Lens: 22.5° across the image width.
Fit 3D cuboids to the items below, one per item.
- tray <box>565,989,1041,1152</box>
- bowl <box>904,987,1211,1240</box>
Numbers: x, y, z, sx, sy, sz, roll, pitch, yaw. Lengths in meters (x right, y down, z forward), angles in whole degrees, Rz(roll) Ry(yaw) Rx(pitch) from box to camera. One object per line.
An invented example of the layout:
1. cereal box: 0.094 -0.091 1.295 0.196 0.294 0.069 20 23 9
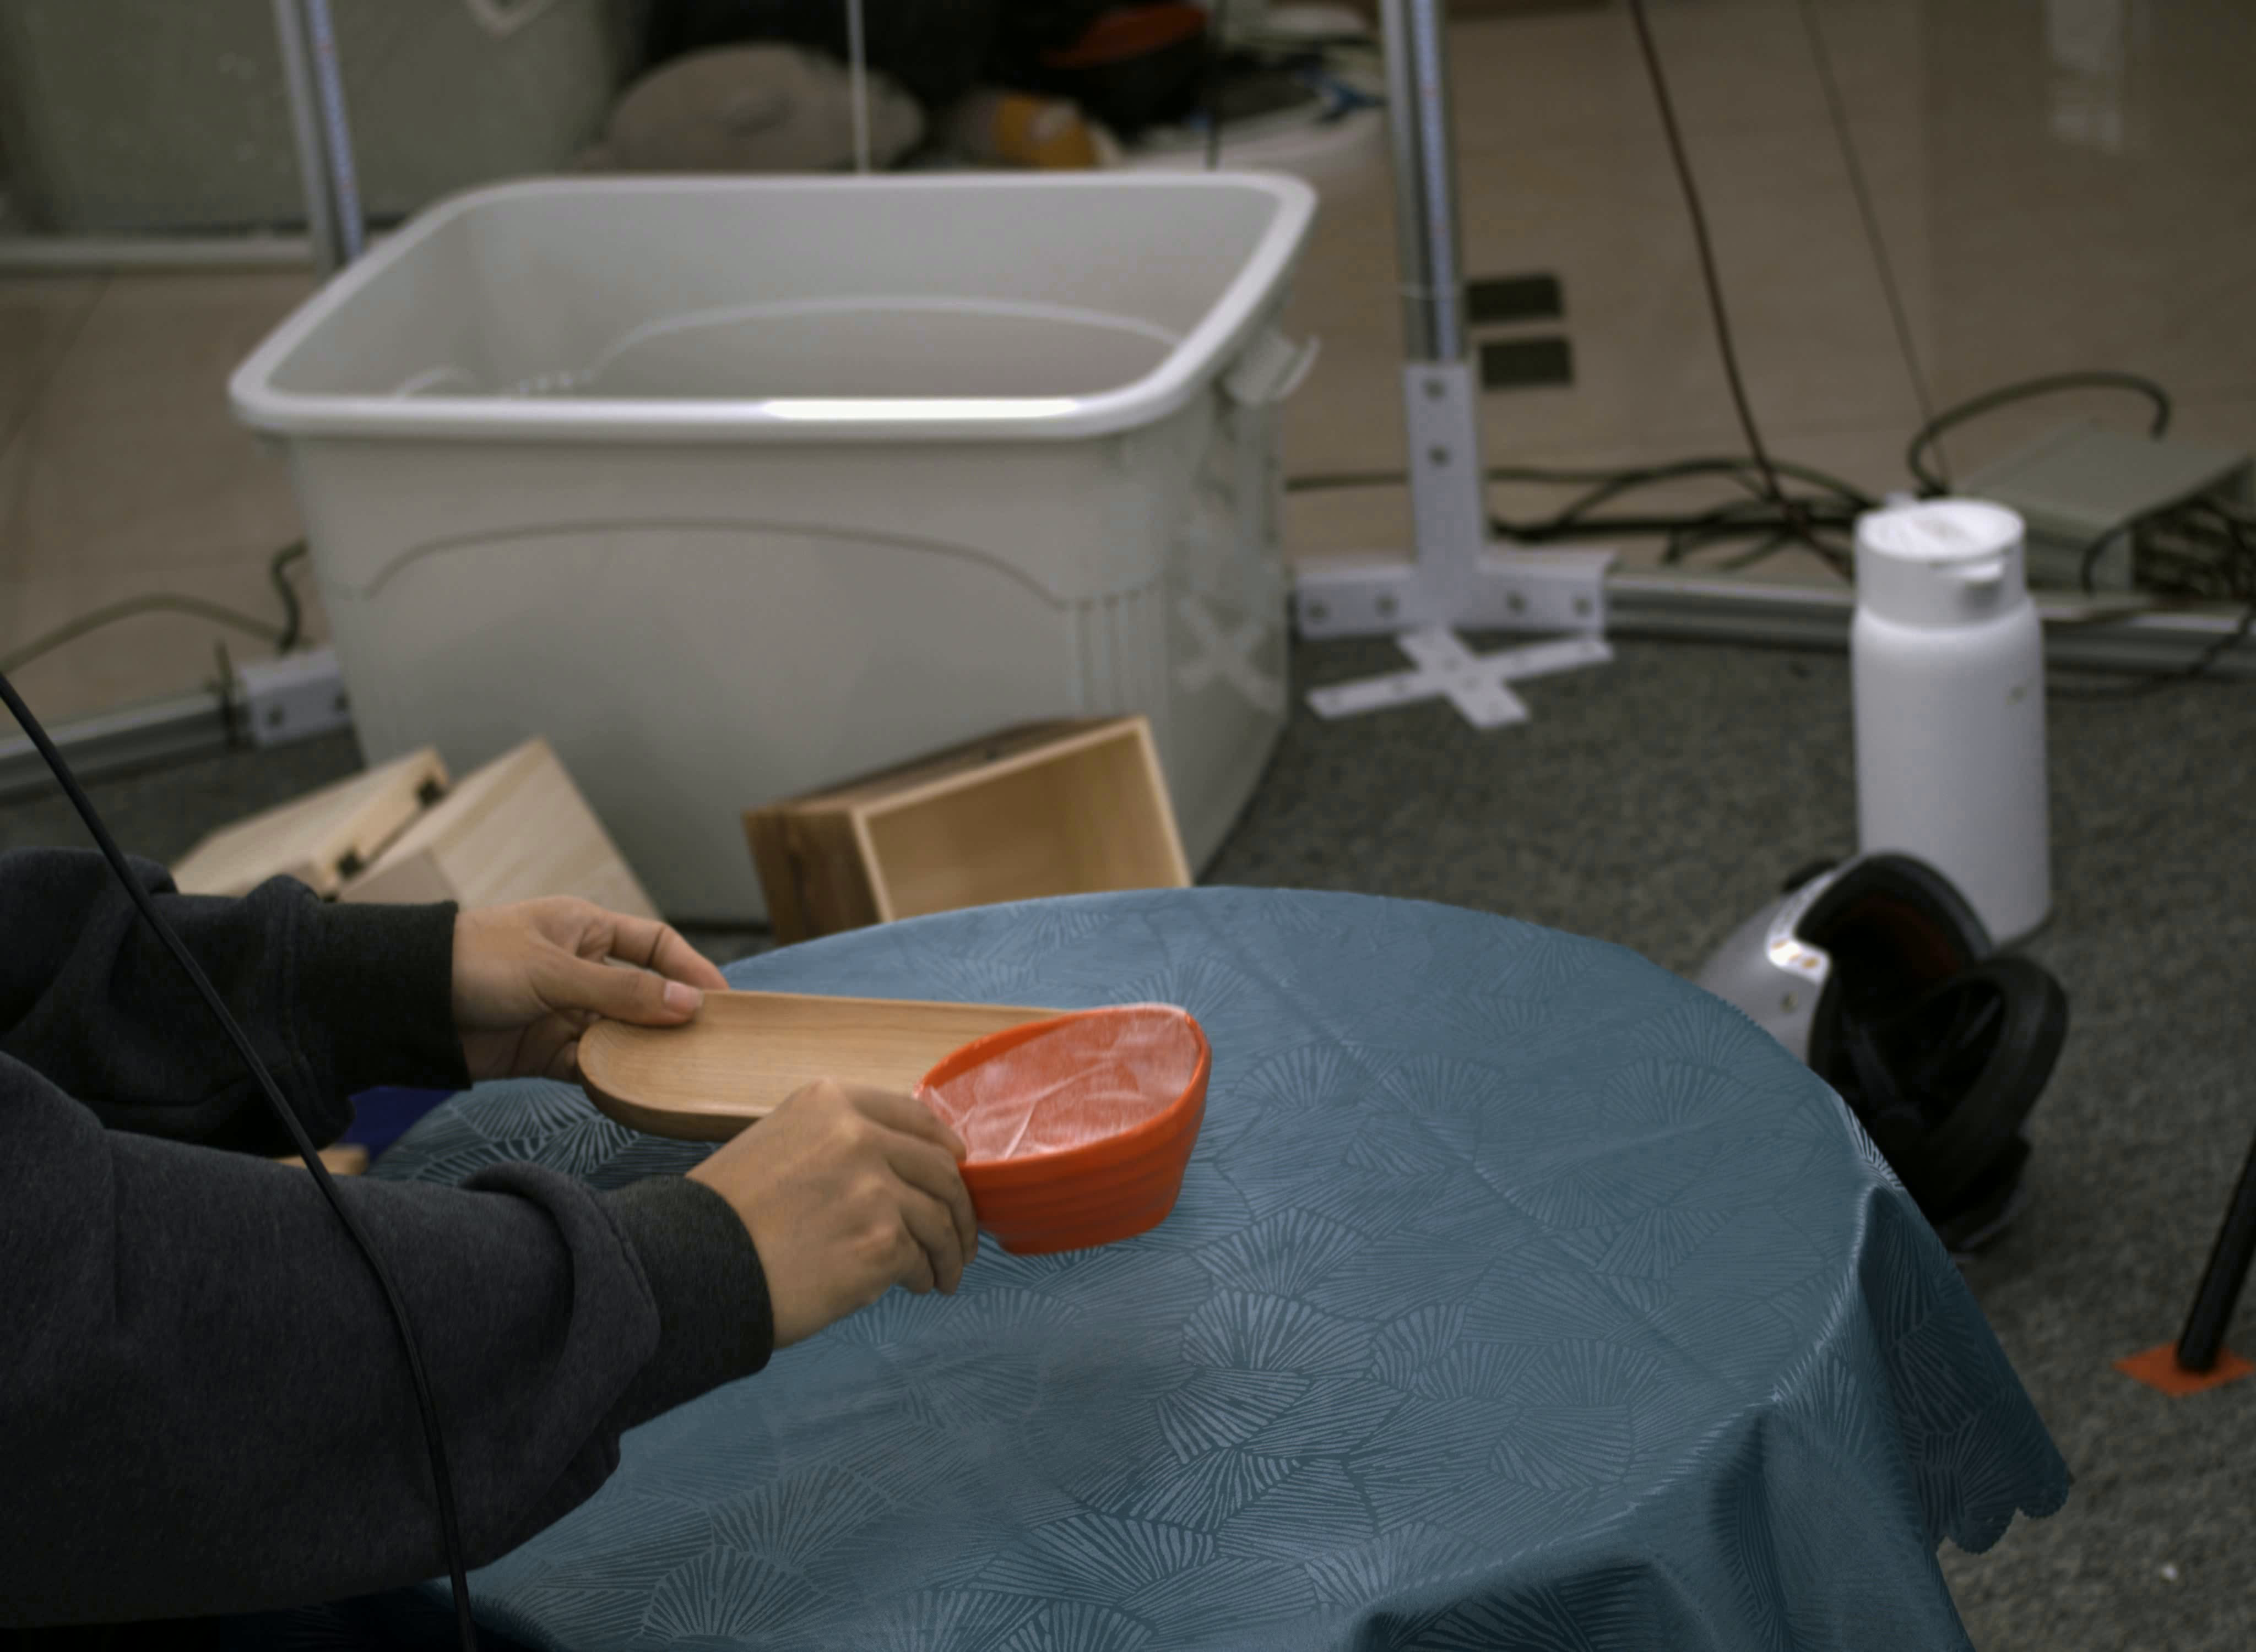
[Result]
1. tray: -0.101 0.095 2.177 0.231 0.020 0.100 2 26 1
2. bowl: -0.020 0.106 1.998 0.119 0.052 0.117 -12 25 6
